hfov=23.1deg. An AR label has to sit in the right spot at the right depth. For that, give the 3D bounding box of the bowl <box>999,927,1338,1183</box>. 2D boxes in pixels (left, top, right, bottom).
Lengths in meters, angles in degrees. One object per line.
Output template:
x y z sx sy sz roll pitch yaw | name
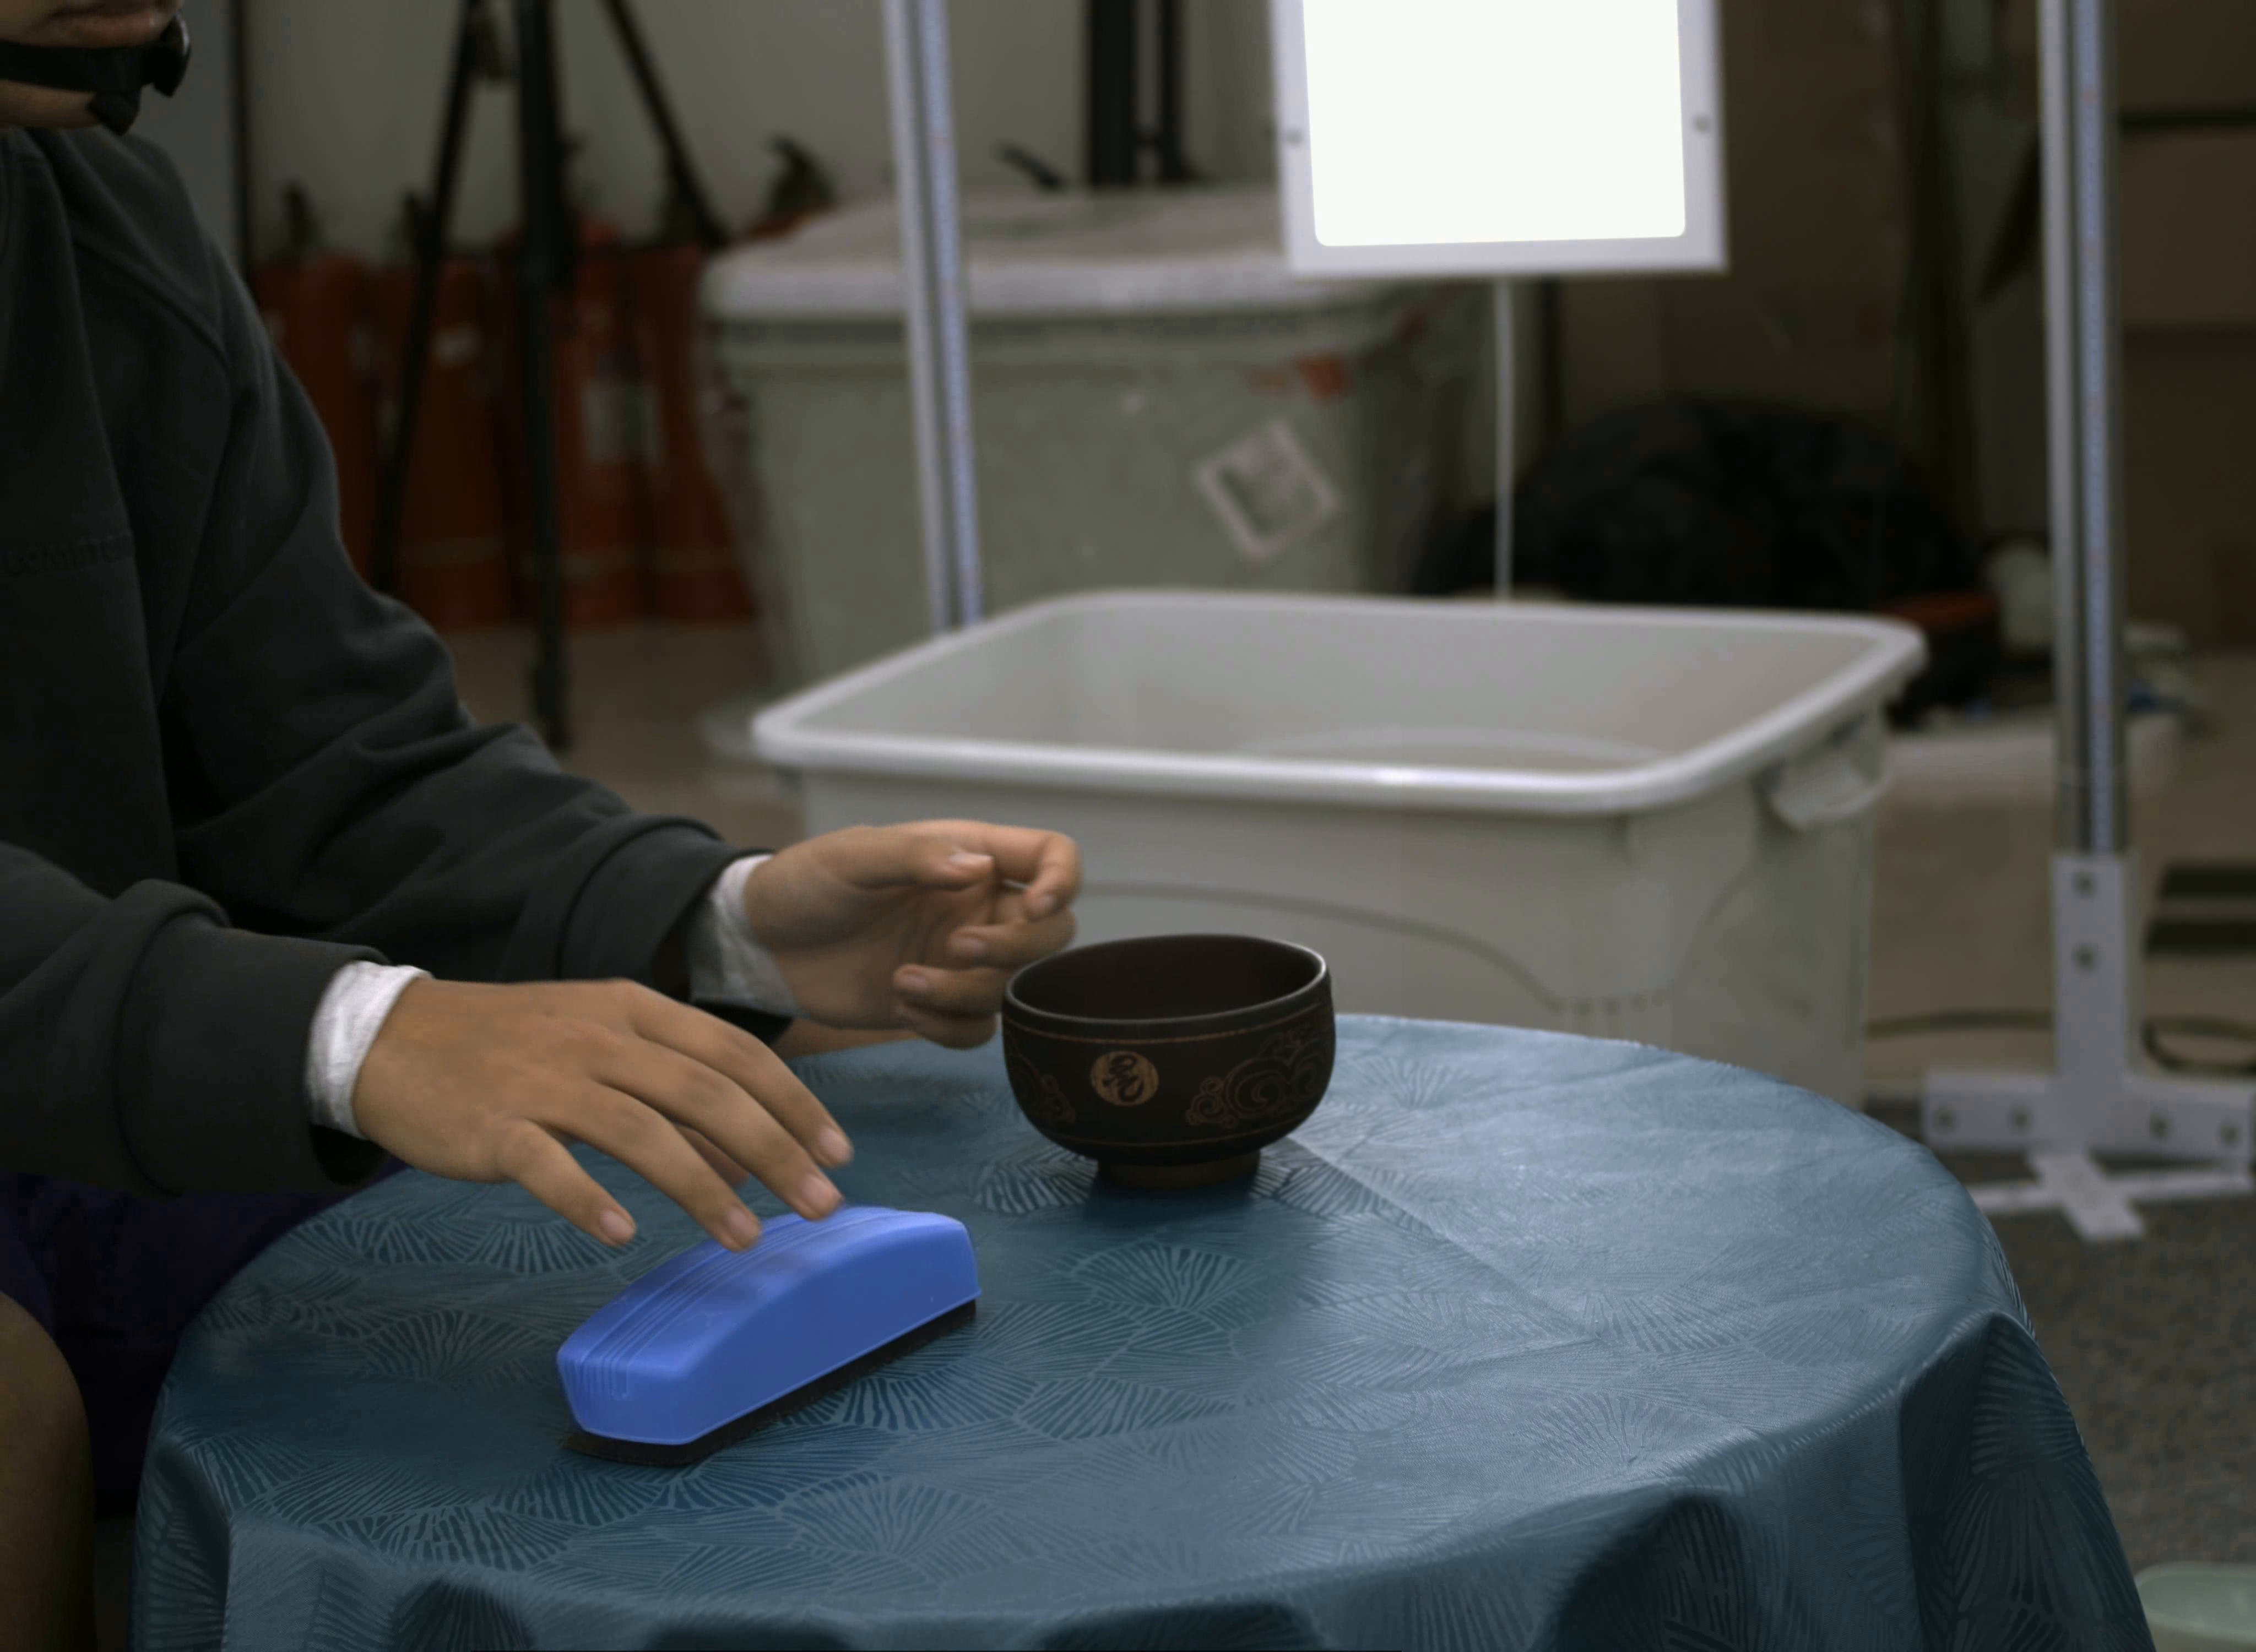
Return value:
0.016 0.083 1.914 0.118 0.070 0.118 -6 14 0 | bowl

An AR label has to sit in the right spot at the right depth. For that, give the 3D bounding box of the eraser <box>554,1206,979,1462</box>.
-0.112 0.153 1.734 0.055 0.048 0.158 6 17 35 | eraser
